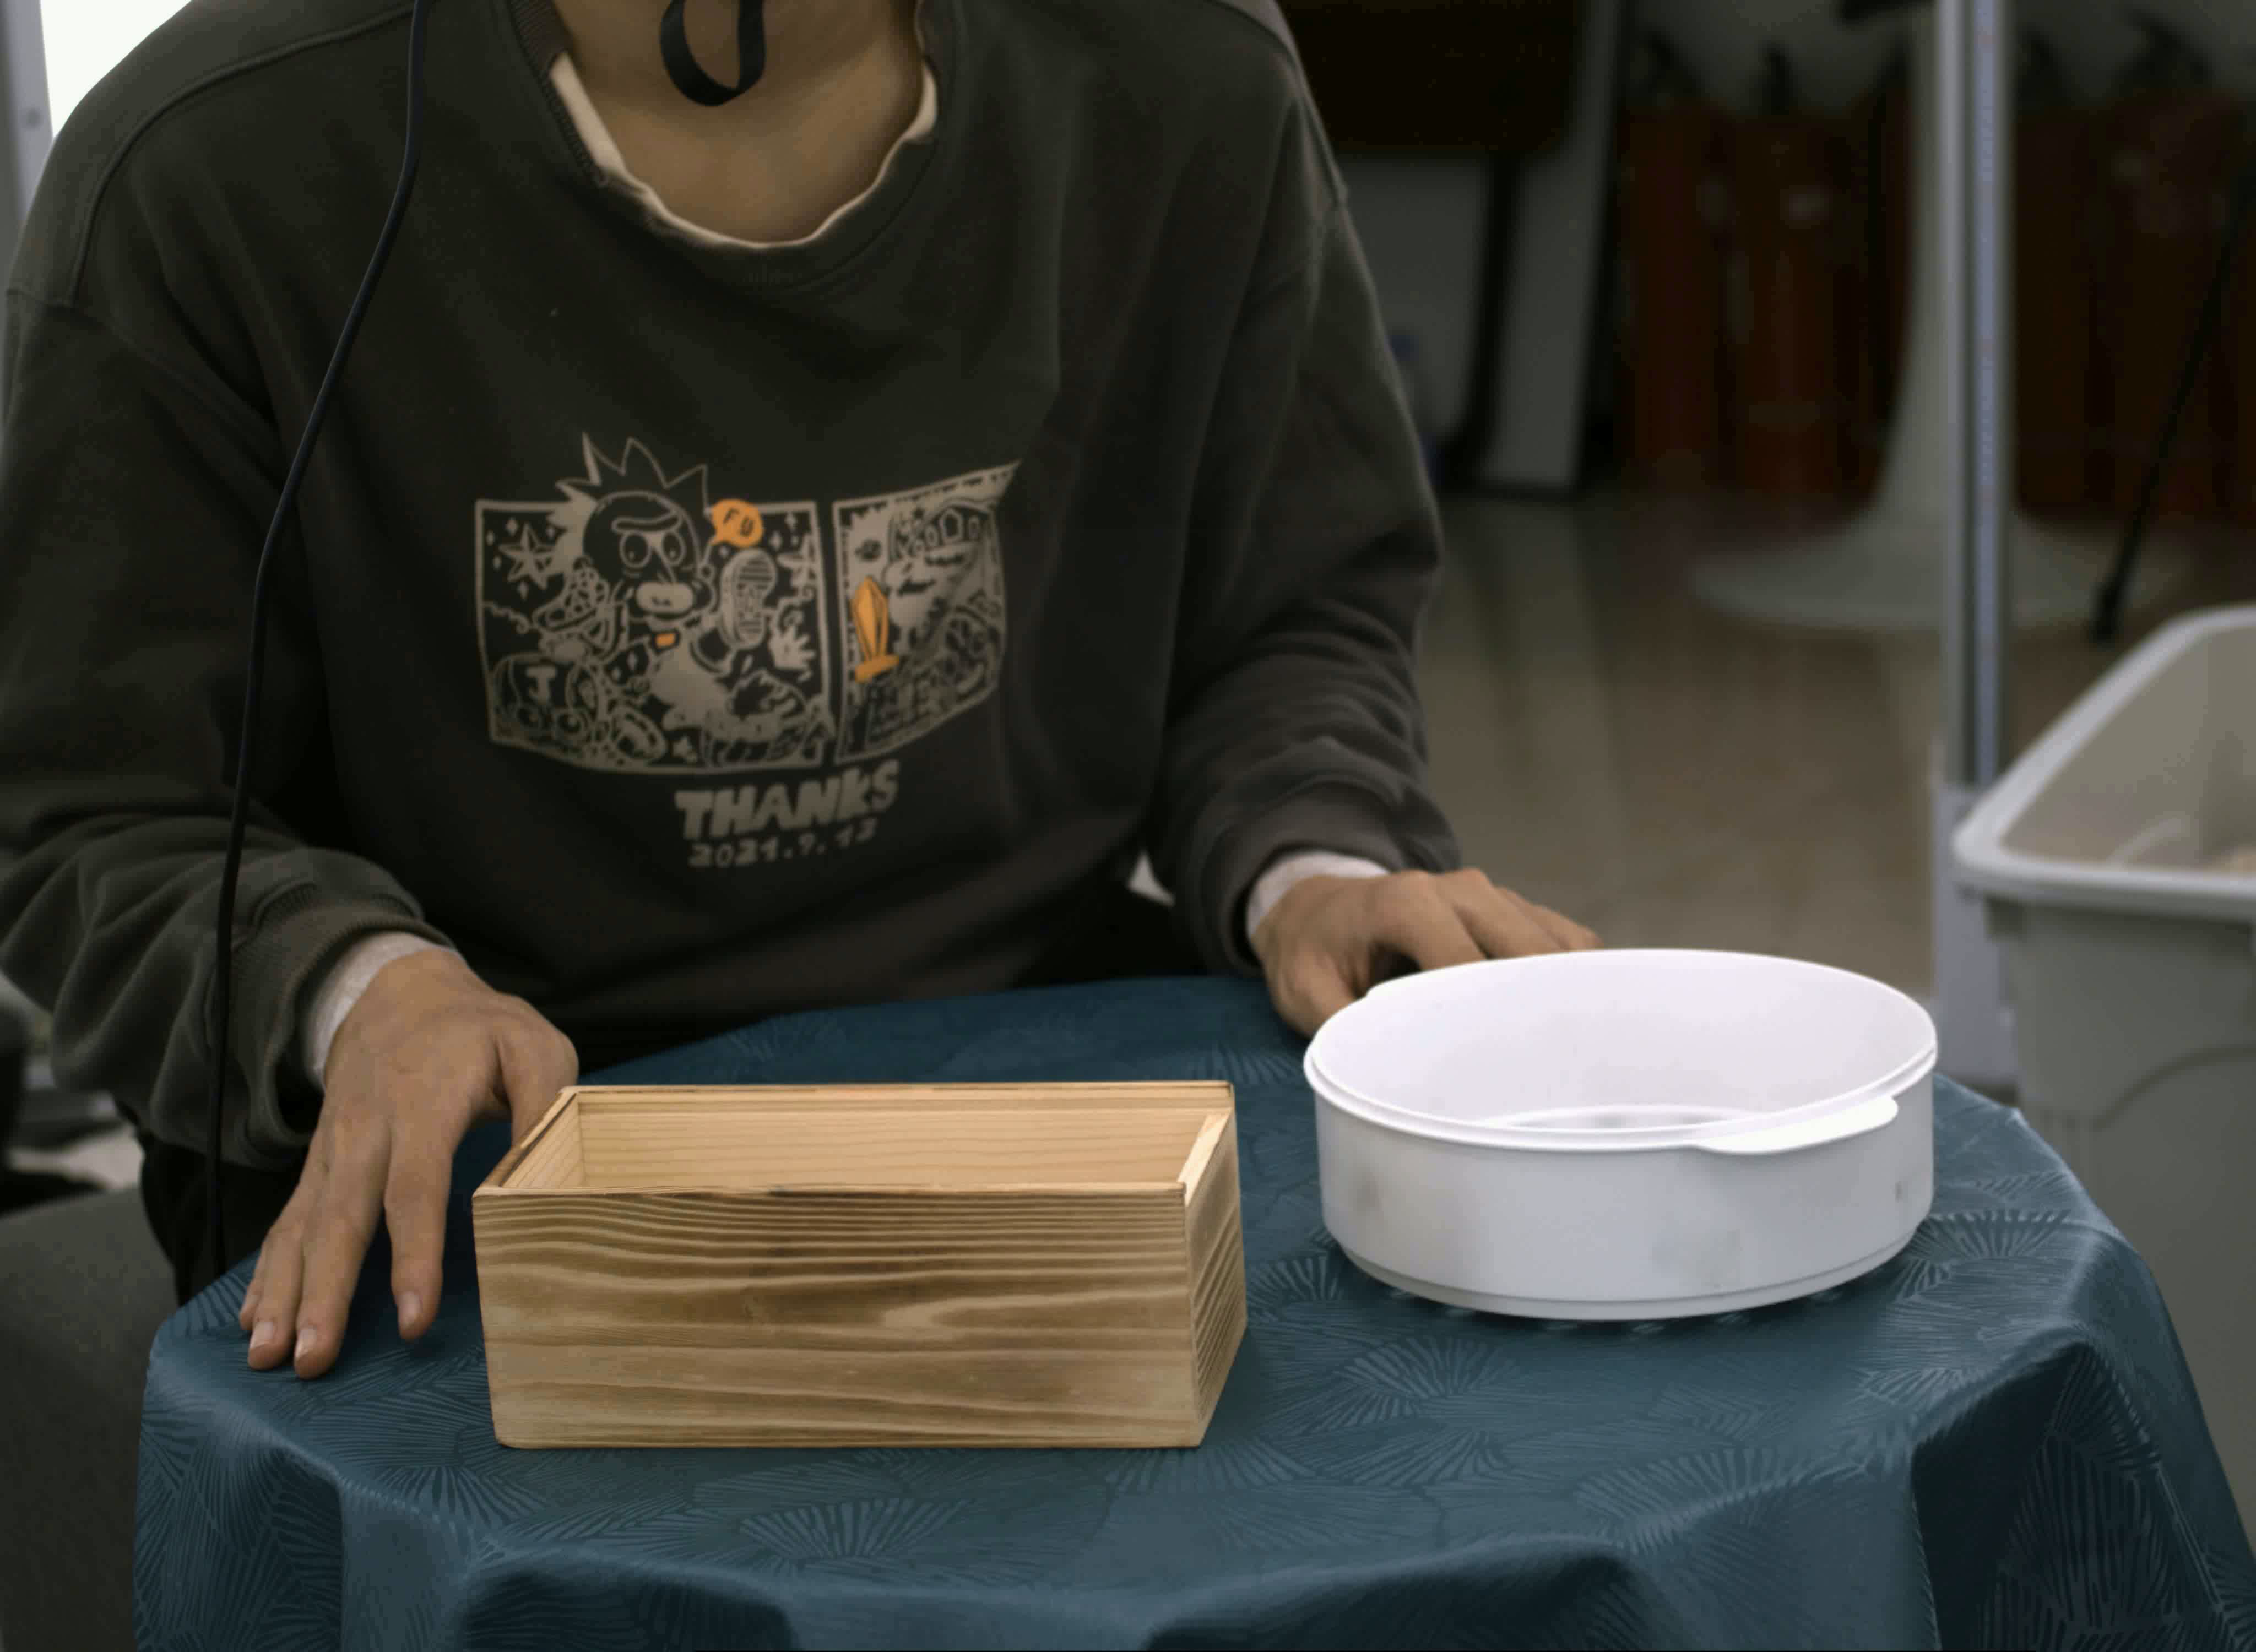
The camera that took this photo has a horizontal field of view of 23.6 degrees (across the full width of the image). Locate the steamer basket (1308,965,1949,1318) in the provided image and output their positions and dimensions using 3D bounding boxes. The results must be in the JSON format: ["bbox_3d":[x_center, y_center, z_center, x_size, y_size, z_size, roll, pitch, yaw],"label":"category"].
[{"bbox_3d":[0.157,0.099,1.681,0.197,0.070,0.233,-10,13,-26],"label":"steamer basket"}]

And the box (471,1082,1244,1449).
[{"bbox_3d":[-0.077,0.129,1.596,0.210,0.081,0.107,-1,13,11],"label":"box"}]
